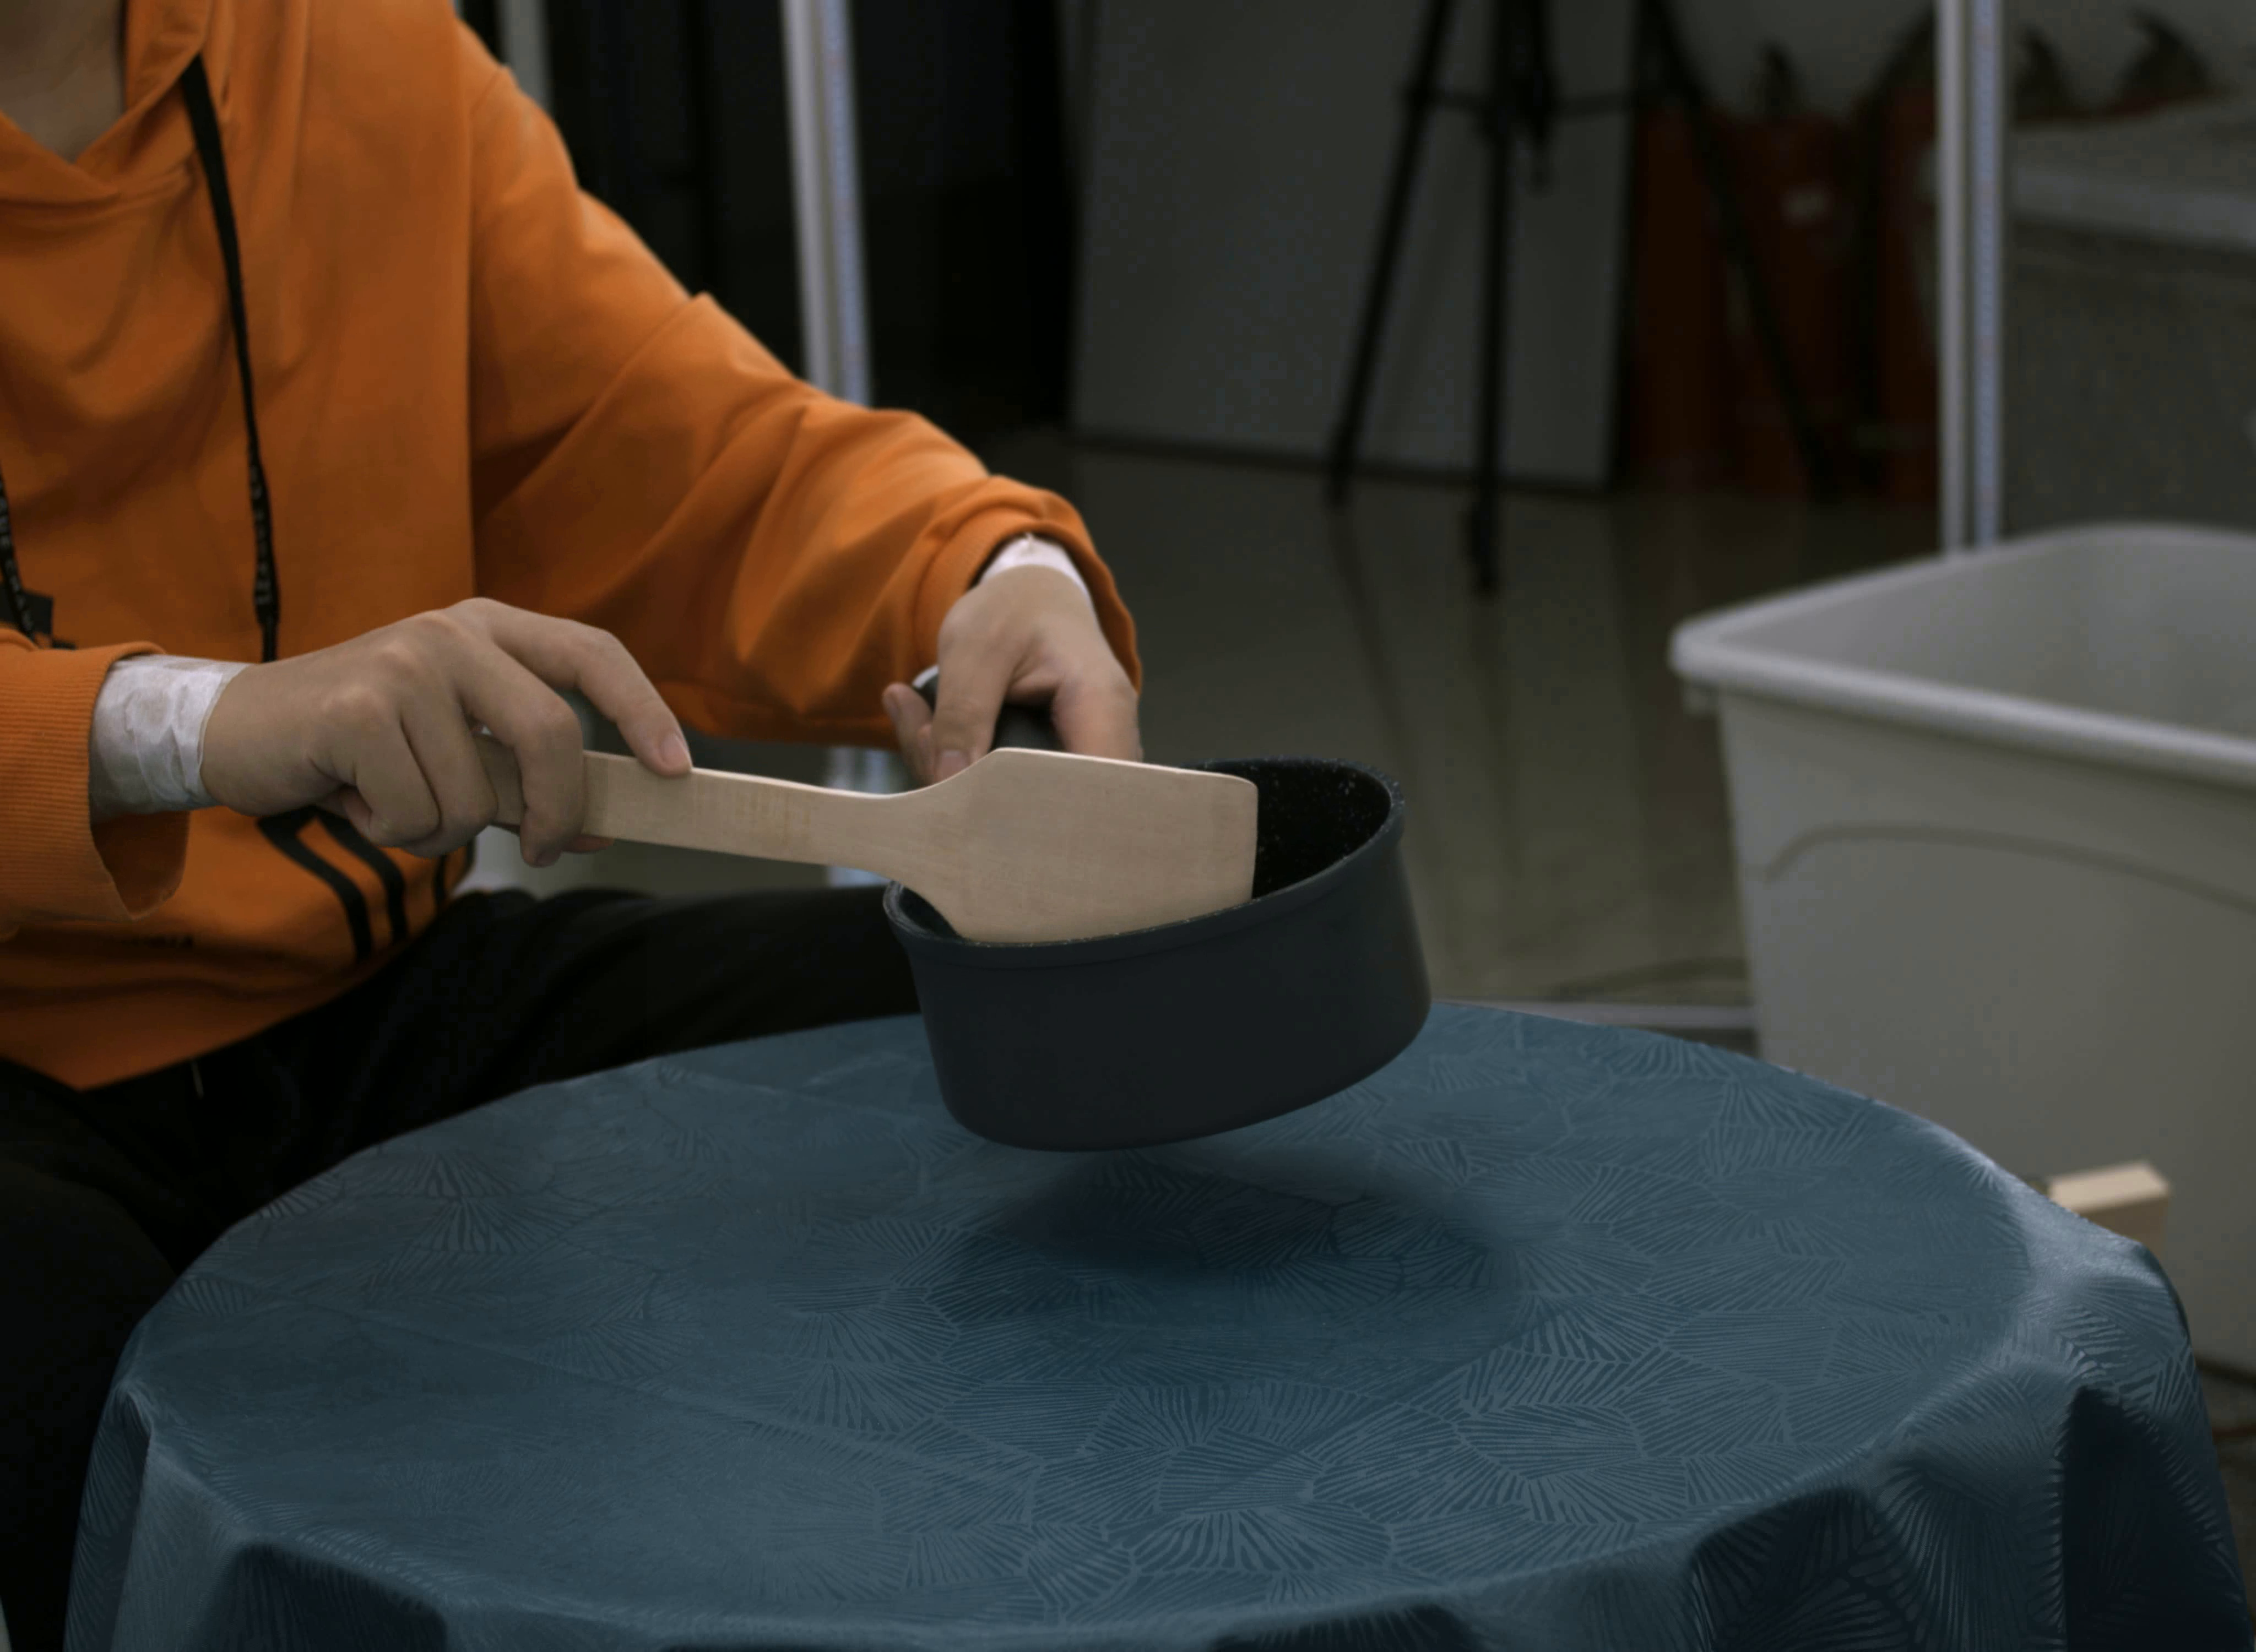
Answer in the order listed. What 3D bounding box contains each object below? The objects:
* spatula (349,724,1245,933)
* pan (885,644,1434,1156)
[{"bbox_3d":[-0.106,-0.004,1.693,0.291,0.073,0.010,7,18,12],"label":"spatula"},{"bbox_3d":[-0.007,0.018,1.803,0.169,0.087,0.331,-15,18,-10],"label":"pan"}]
